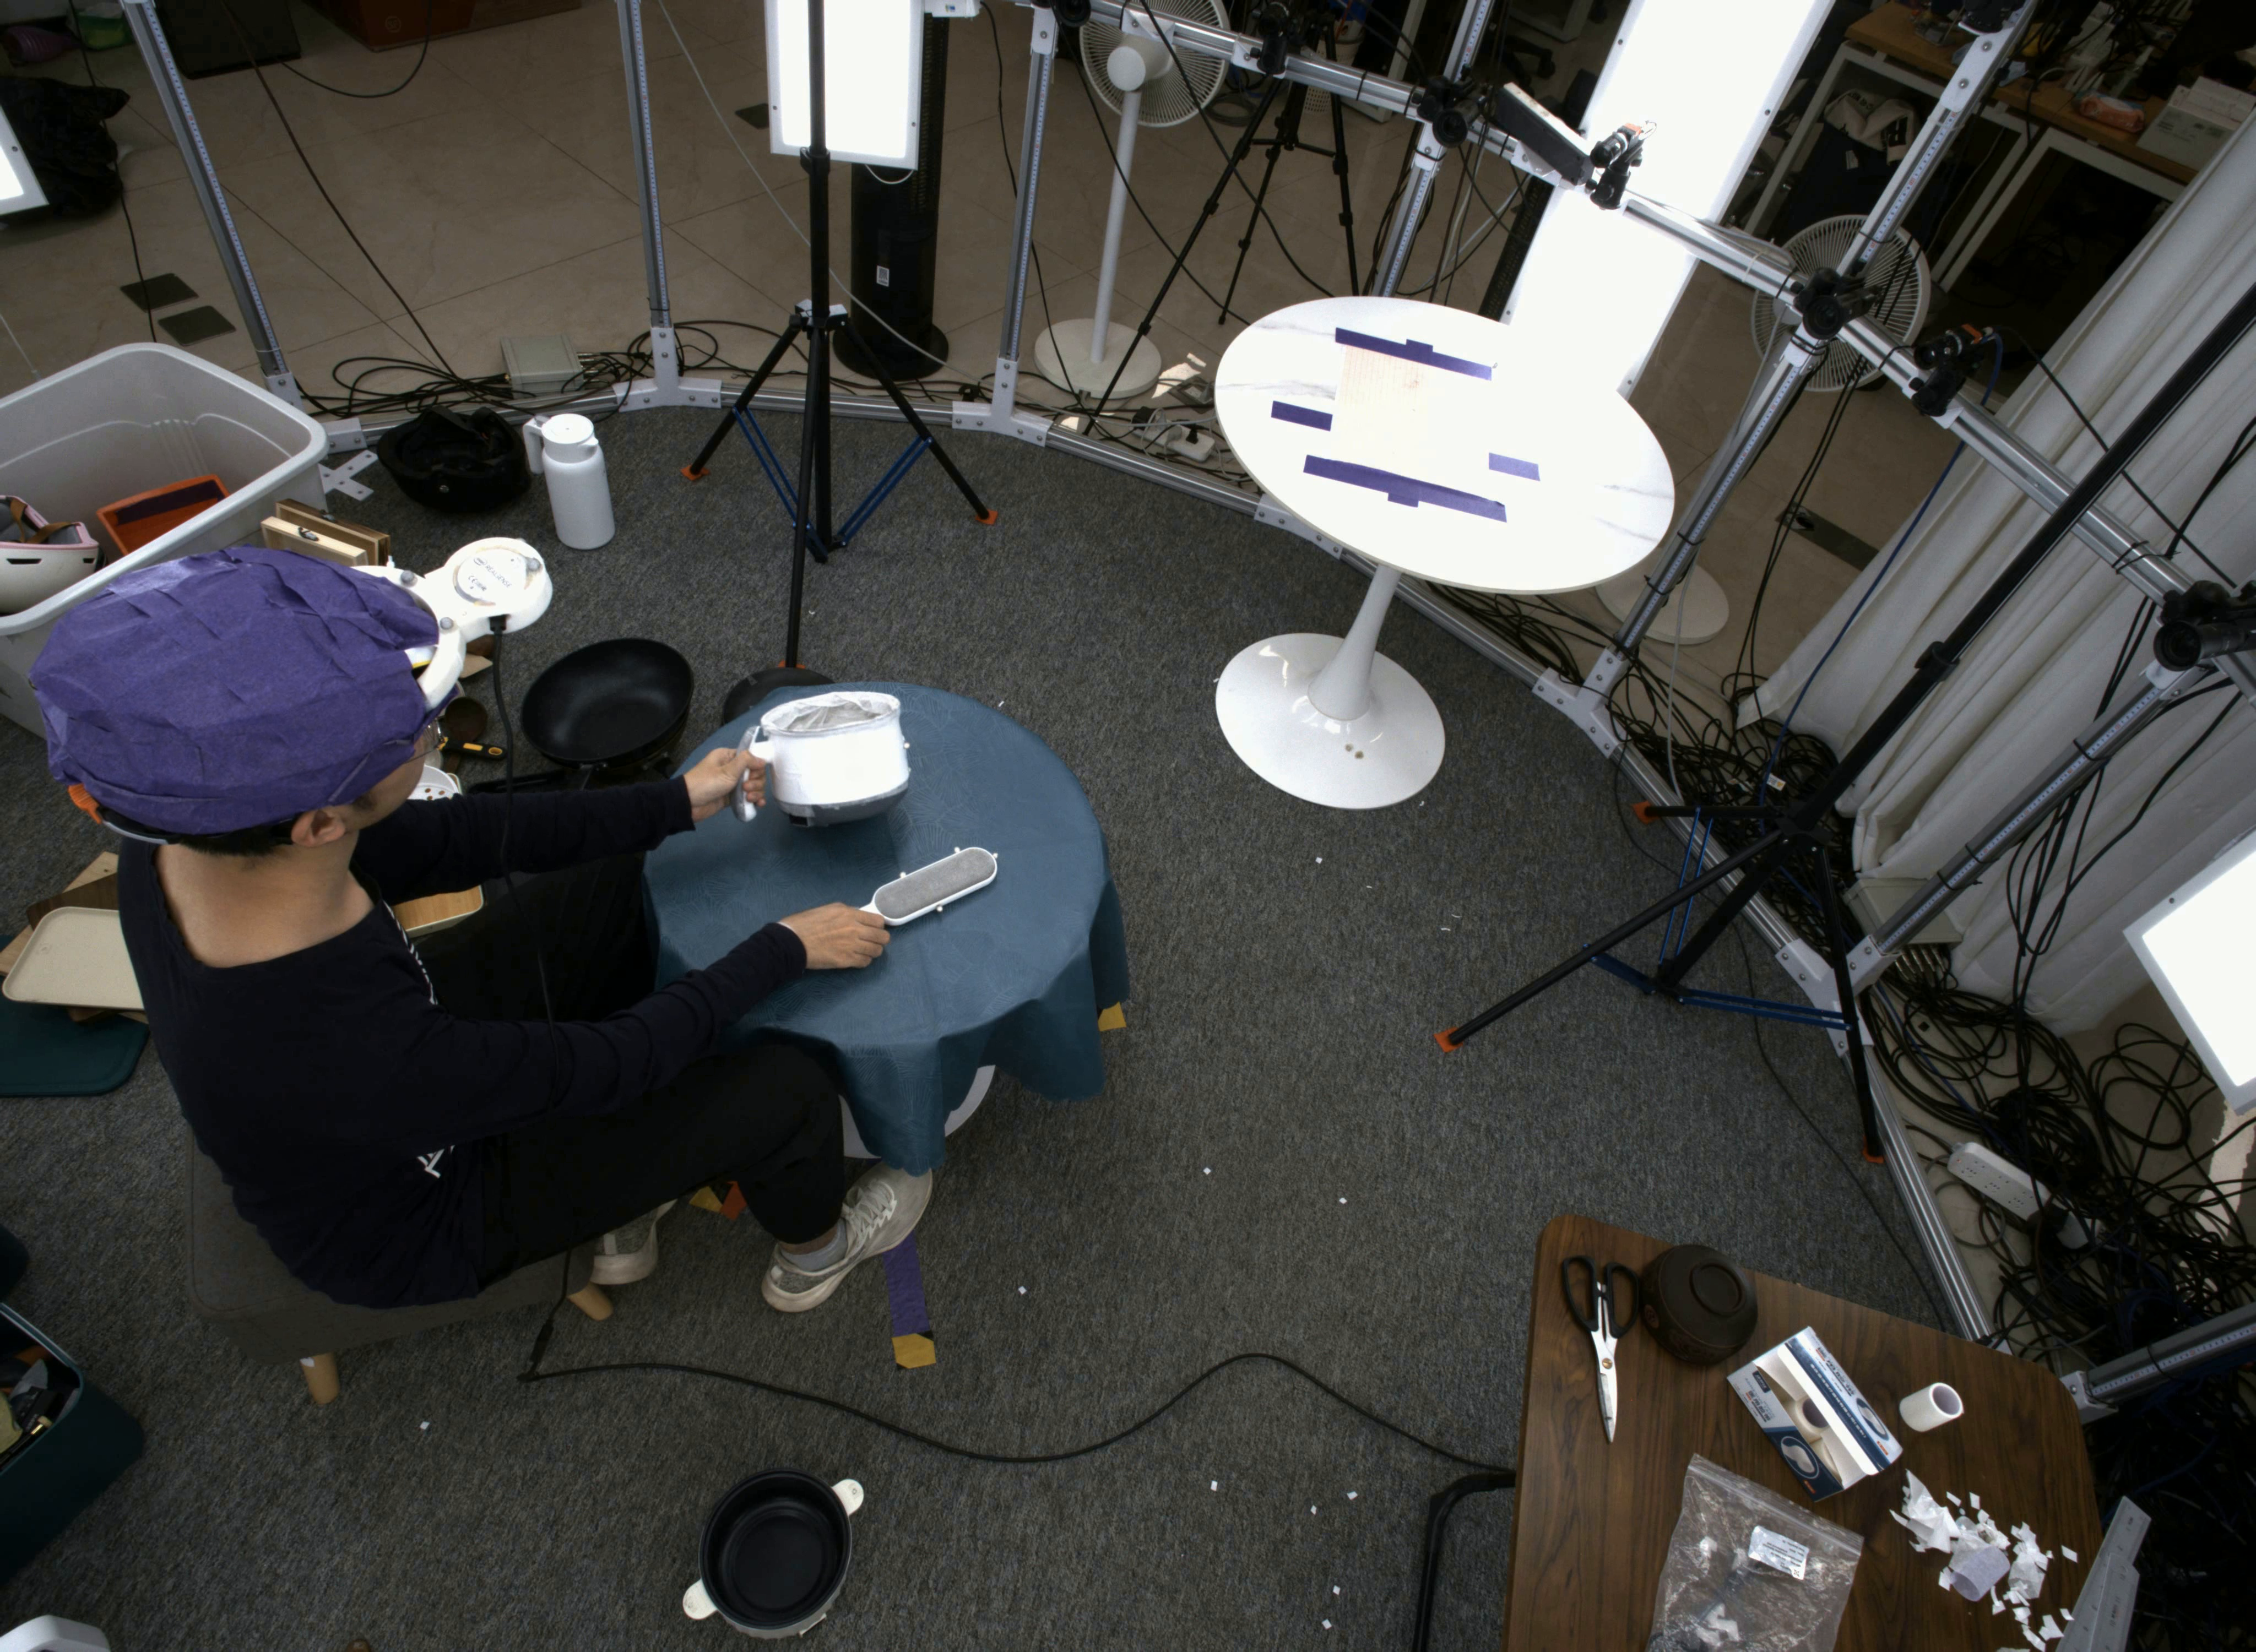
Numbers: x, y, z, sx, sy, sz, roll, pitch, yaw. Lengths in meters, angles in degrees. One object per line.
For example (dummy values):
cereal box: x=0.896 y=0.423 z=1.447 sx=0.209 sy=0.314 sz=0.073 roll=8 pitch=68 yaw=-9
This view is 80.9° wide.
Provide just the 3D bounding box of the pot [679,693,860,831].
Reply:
pot: x=-0.461 y=-0.078 z=1.648 sx=0.235 sy=0.140 sz=0.172 roll=-18 pitch=23 yaw=-30

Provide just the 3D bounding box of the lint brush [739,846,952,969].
lint brush: x=-0.355 y=0.101 z=1.651 sx=0.310 sy=0.021 sz=0.059 roll=-28 pitch=77 yaw=-32
